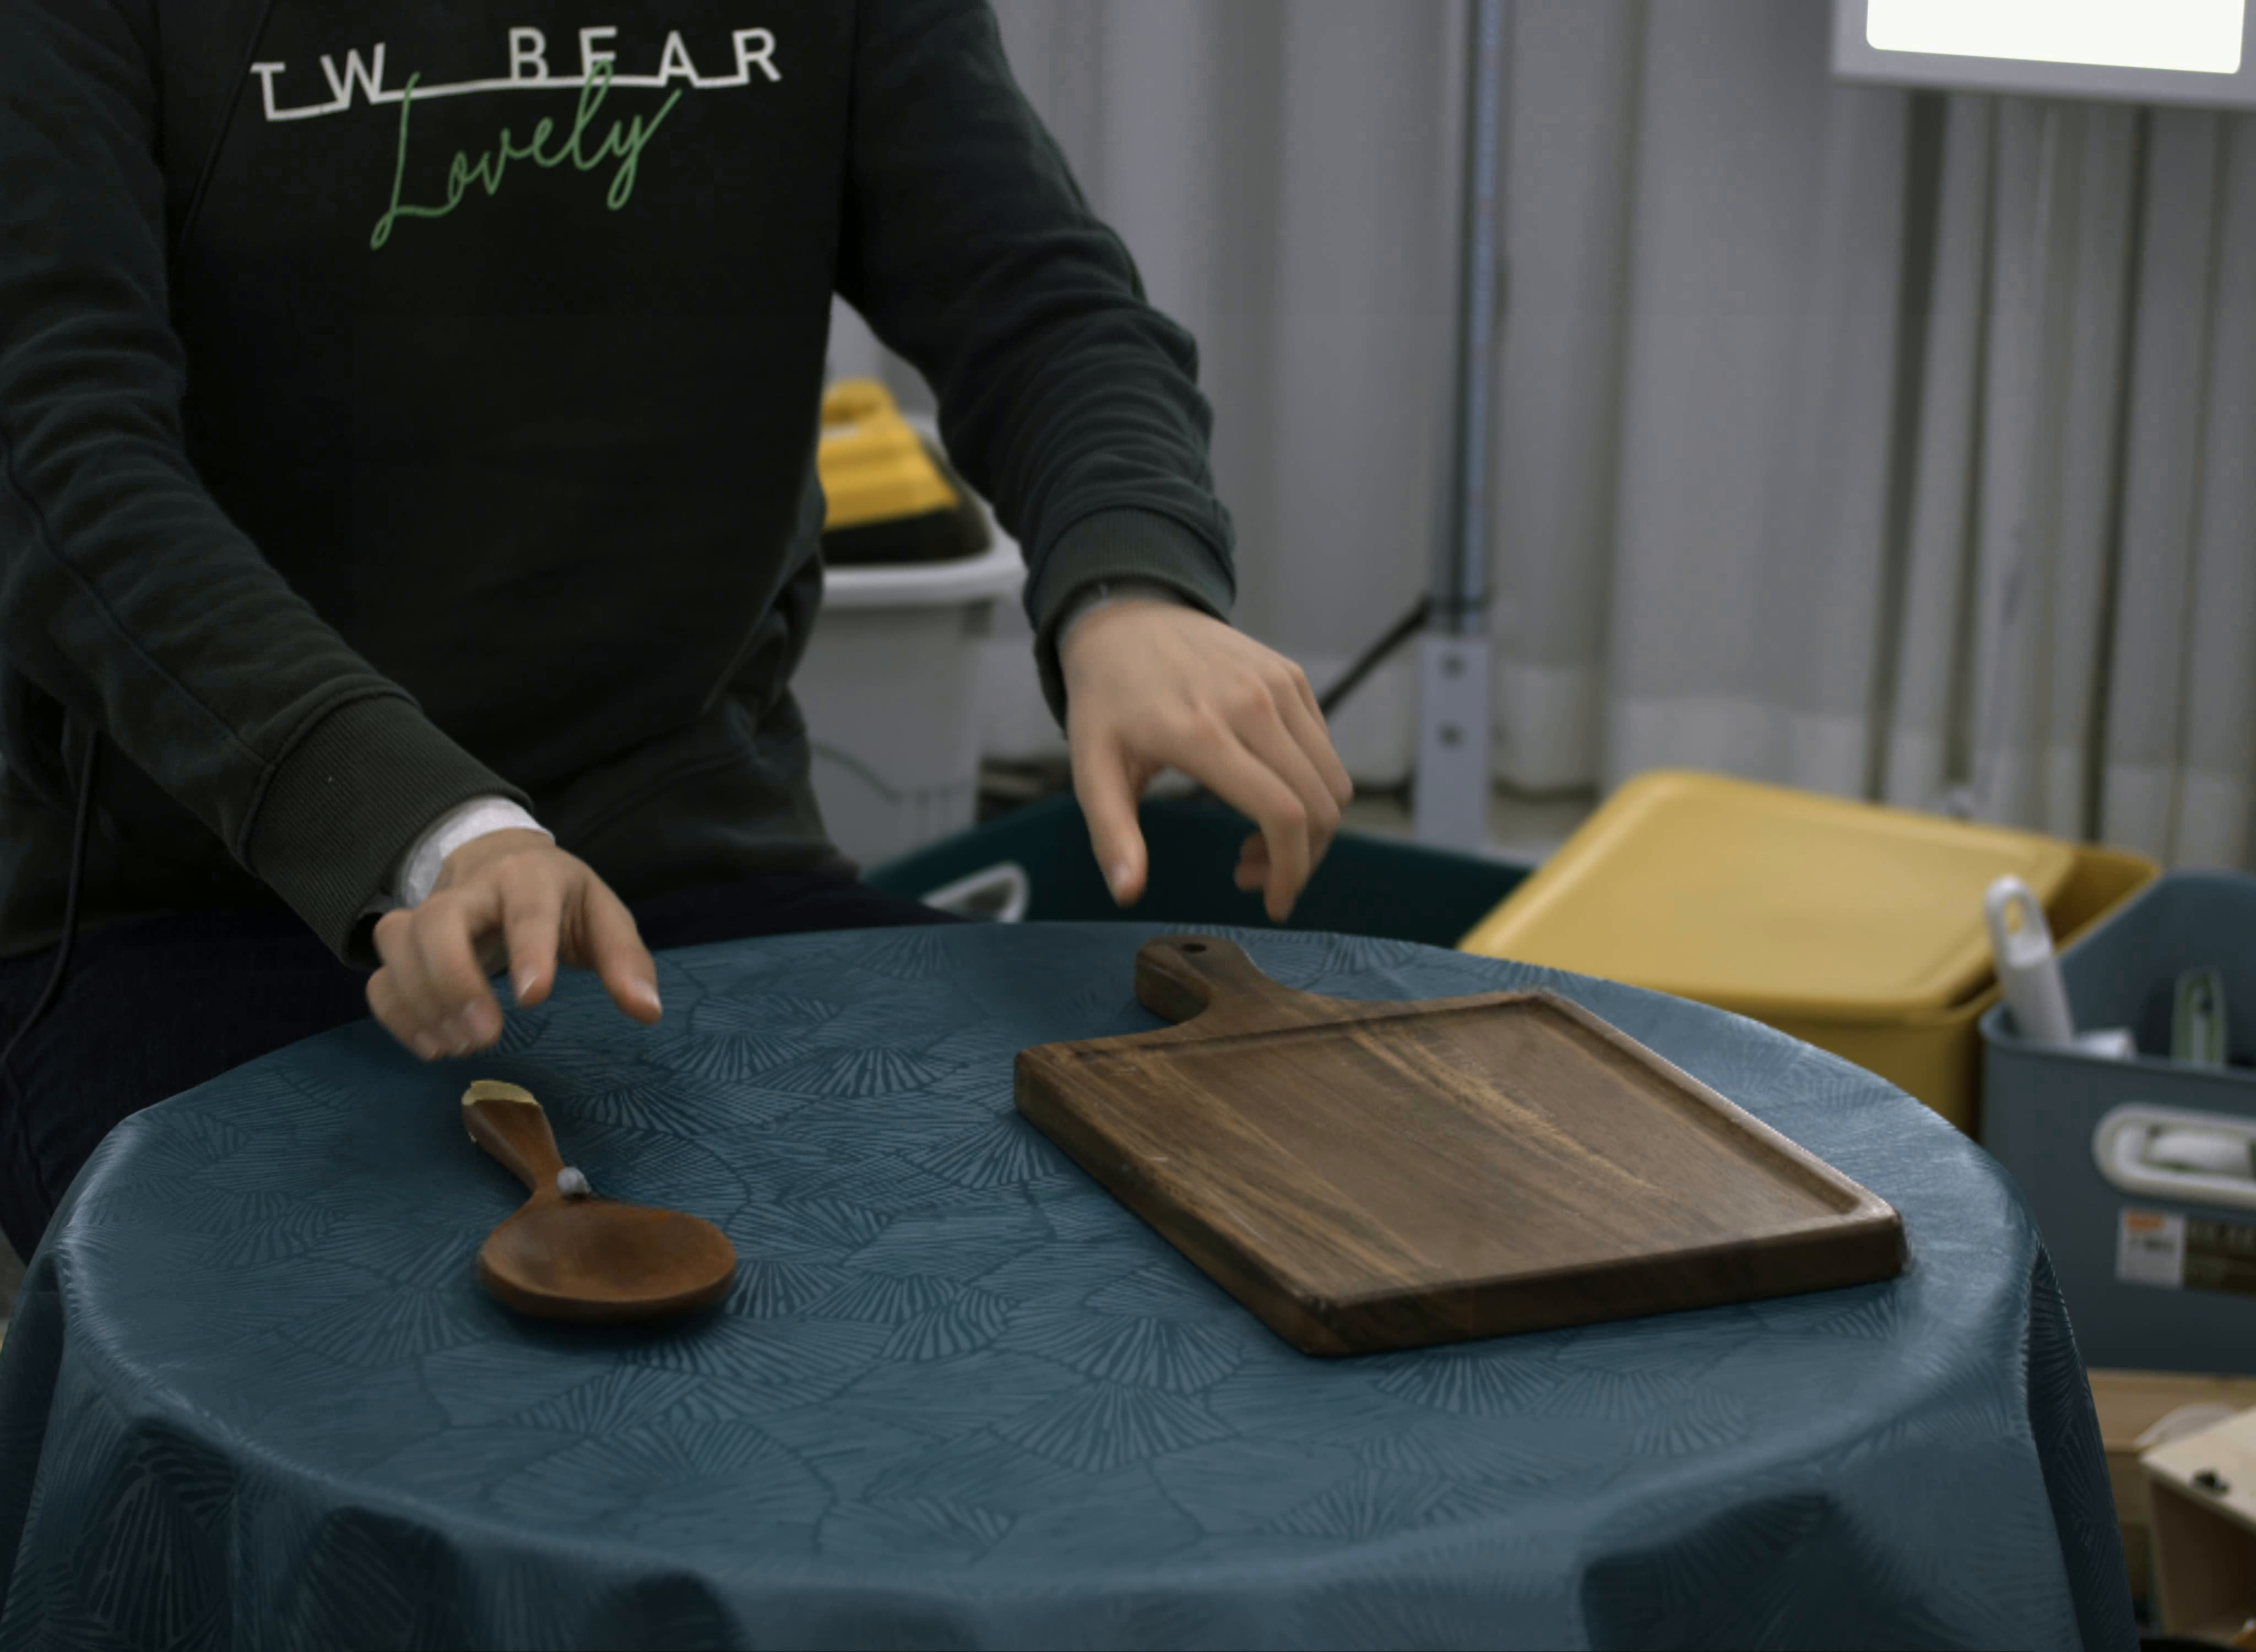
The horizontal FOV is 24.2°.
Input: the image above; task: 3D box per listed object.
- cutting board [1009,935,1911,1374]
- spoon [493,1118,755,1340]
[{"bbox_3d":[0.079,0.092,1.672,0.201,0.023,0.348,-7,17,-21],"label":"cutting board"},{"bbox_3d":[-0.155,0.122,1.580,0.075,0.017,0.214,1,12,-9],"label":"spoon"}]
